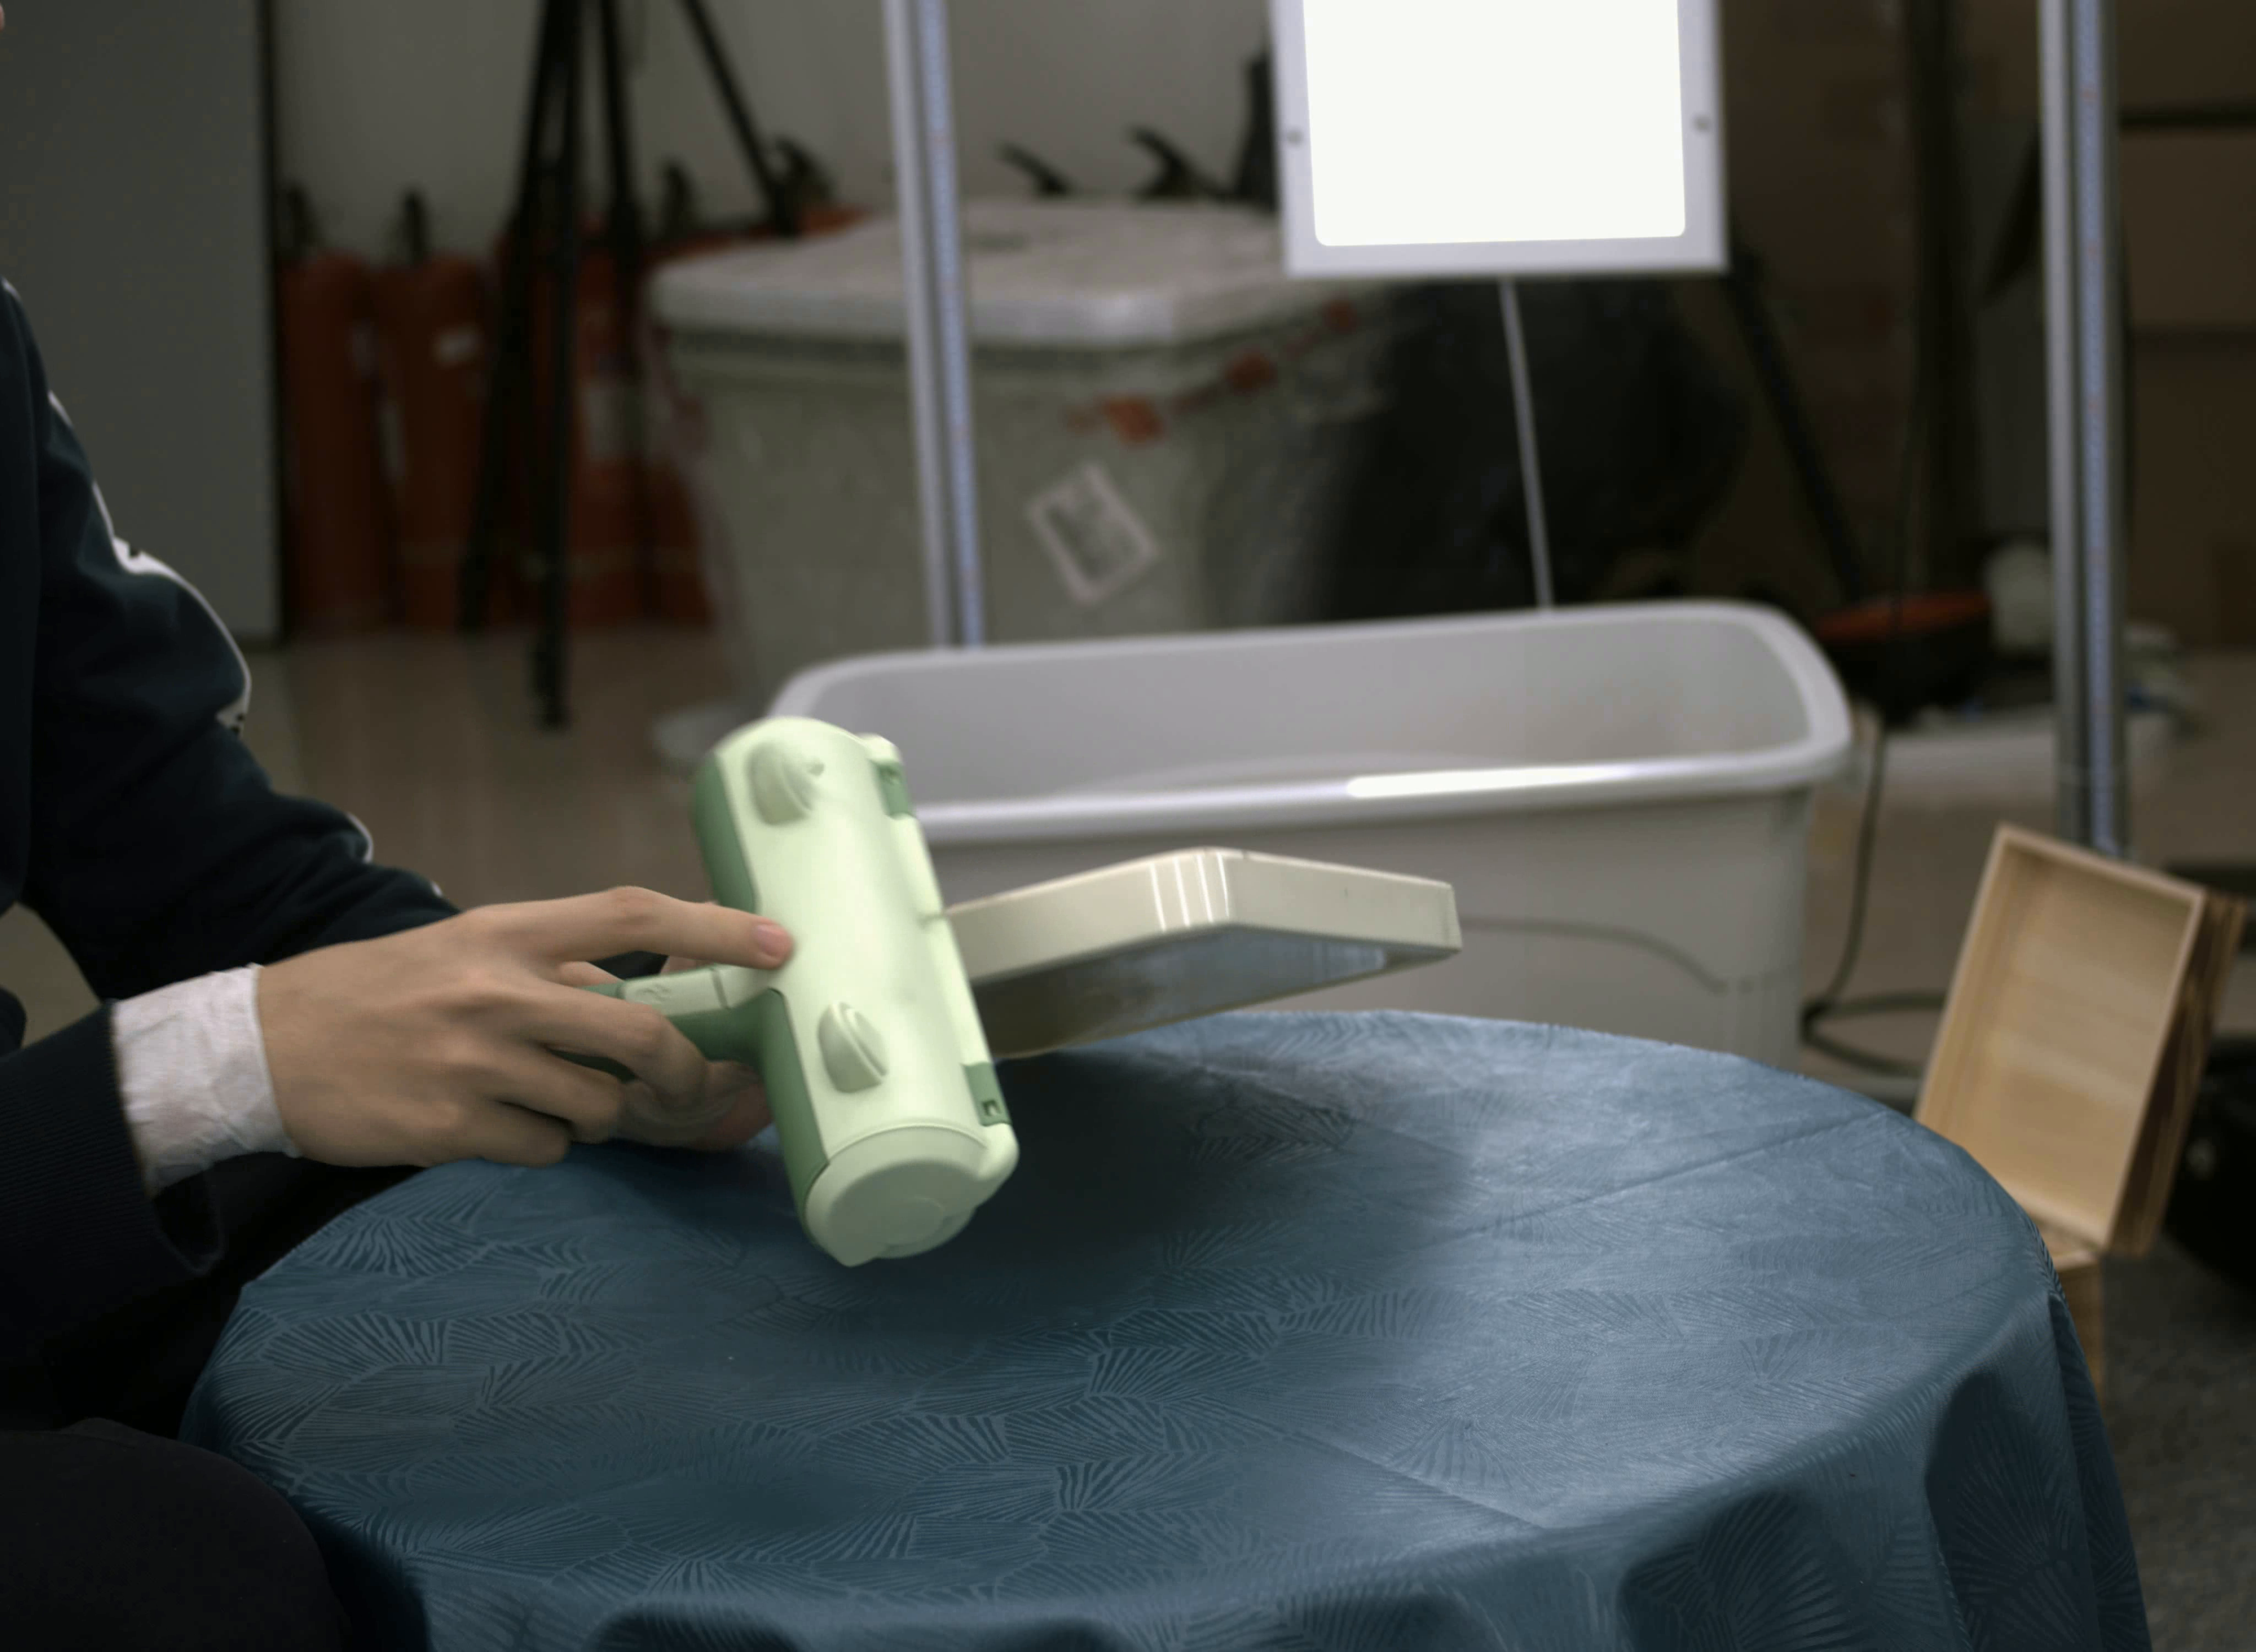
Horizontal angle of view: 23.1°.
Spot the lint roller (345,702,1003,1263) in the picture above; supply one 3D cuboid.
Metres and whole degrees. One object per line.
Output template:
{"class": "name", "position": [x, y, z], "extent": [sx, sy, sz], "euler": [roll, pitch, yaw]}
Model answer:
{"class": "lint roller", "position": [-0.148, 0.047, 1.677], "extent": [0.181, 0.083, 0.199], "euler": [-8, 47, -12]}

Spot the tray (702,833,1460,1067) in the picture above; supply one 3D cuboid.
{"class": "tray", "position": [-0.012, 0.047, 1.906], "extent": [0.194, 0.027, 0.295], "euler": [-15, -9, 20]}
